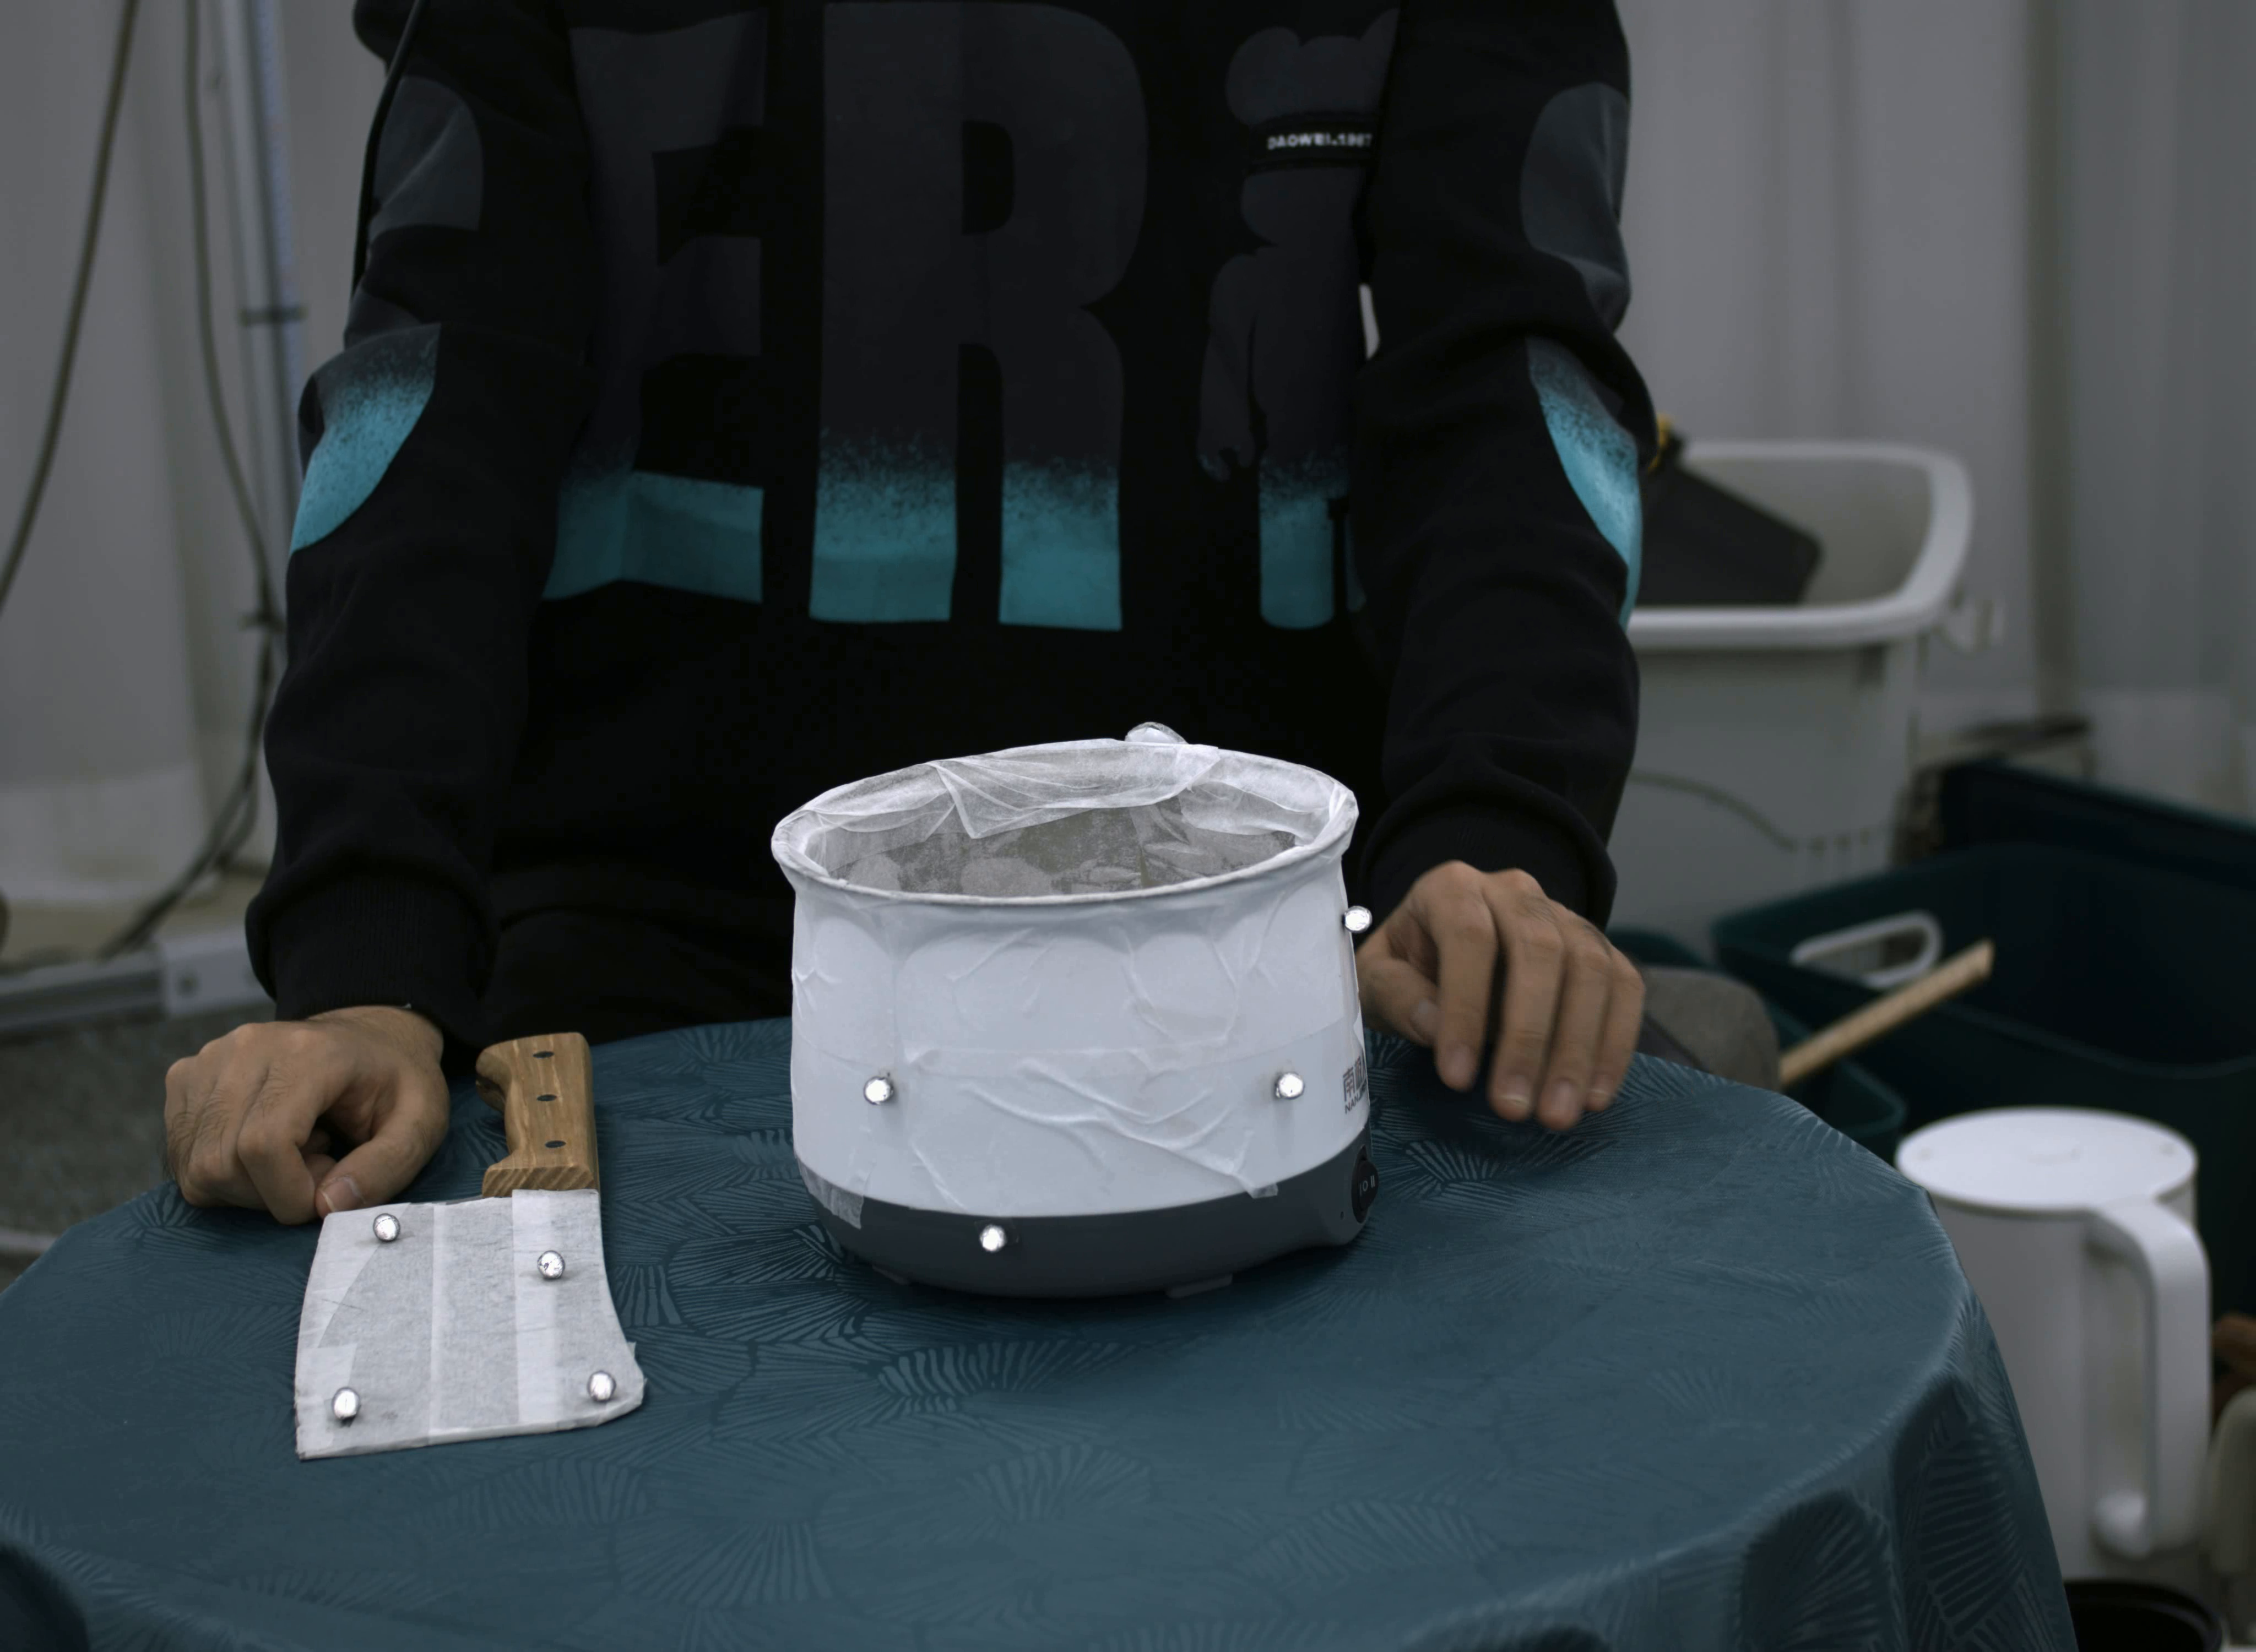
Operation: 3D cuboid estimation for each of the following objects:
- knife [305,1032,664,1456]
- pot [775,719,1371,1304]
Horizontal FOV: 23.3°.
[{"bbox_3d":[-0.195,0.126,1.678,0.113,0.021,0.318,-4,18,-2],"label":"knife"},{"bbox_3d":[-0.009,0.052,1.689,0.178,0.136,0.235,1,16,14],"label":"pot"}]
